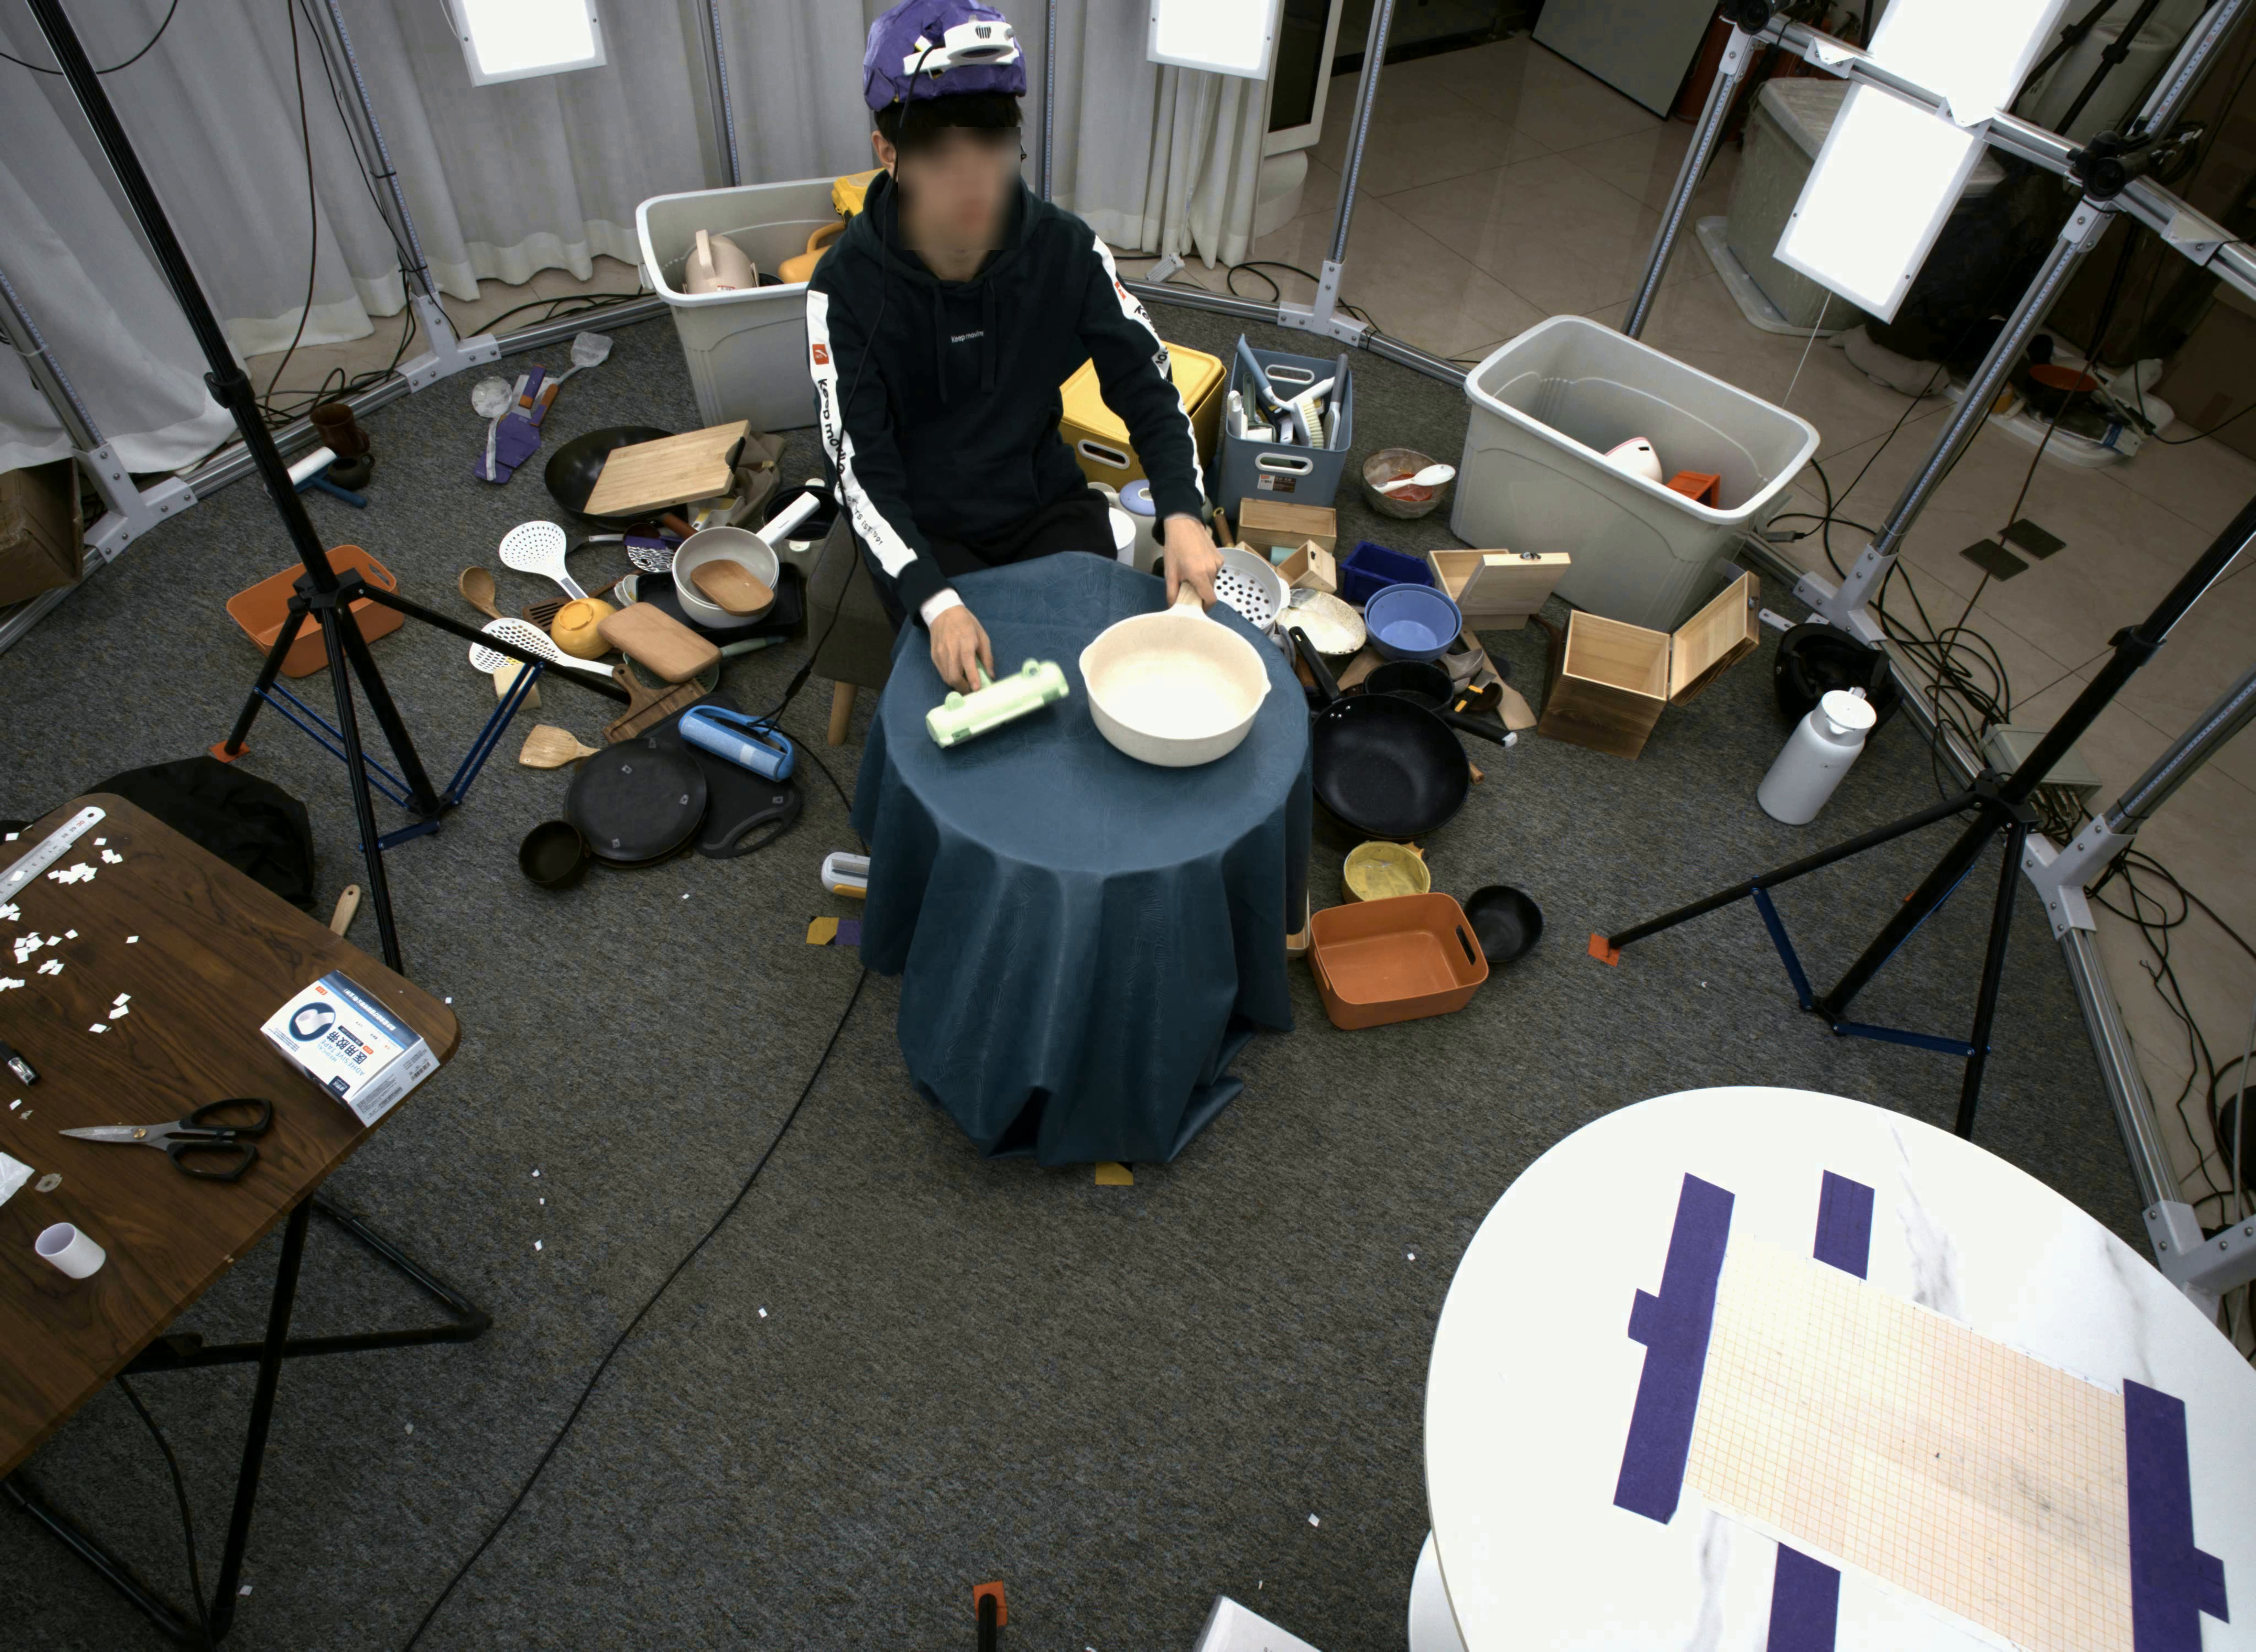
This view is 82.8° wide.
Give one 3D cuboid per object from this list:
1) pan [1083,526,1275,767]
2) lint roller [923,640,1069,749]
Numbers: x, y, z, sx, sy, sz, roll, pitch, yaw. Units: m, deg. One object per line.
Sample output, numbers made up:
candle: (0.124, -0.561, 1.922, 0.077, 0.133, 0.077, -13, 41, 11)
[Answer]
pan: (0.081, -0.257, 1.832, 0.263, 0.099, 0.445, 7, 48, 4)
lint roller: (-0.206, -0.208, 1.772, 0.199, 0.080, 0.187, -23, 62, -18)
